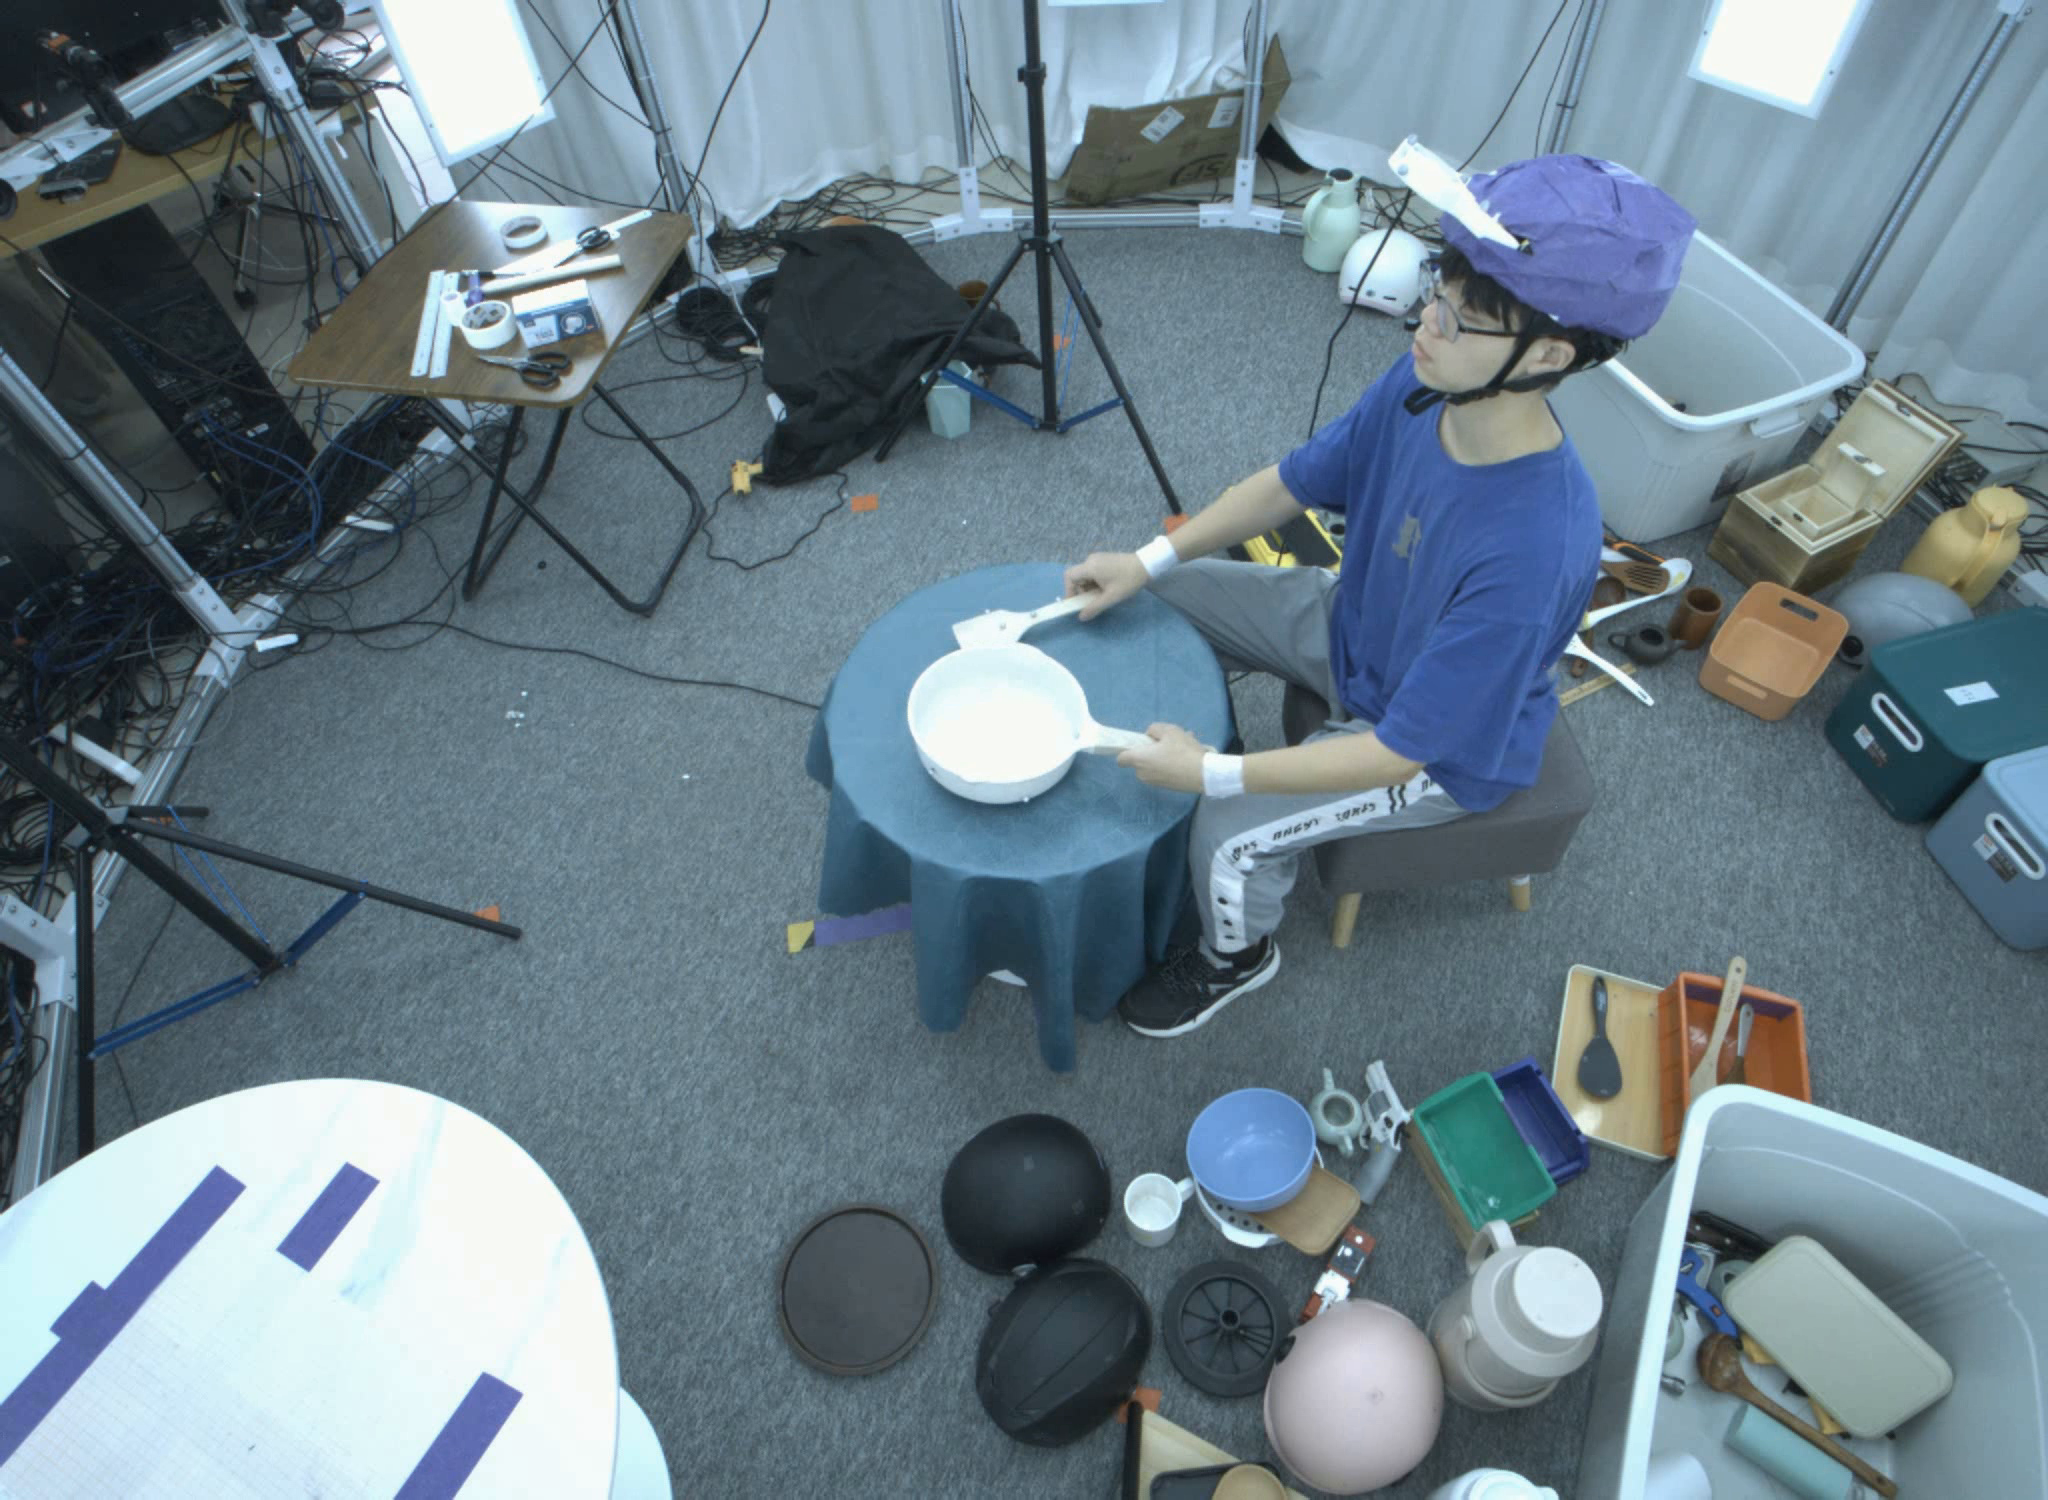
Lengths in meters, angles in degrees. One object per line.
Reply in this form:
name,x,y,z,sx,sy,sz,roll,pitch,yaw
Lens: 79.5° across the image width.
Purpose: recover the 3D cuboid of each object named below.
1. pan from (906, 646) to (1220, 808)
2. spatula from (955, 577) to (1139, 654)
pan,0.050,-0.010,1.713,0.433,0.103,0.262,13,51,5
spatula,0.040,-0.214,1.889,0.295,0.011,0.071,-20,62,-10
